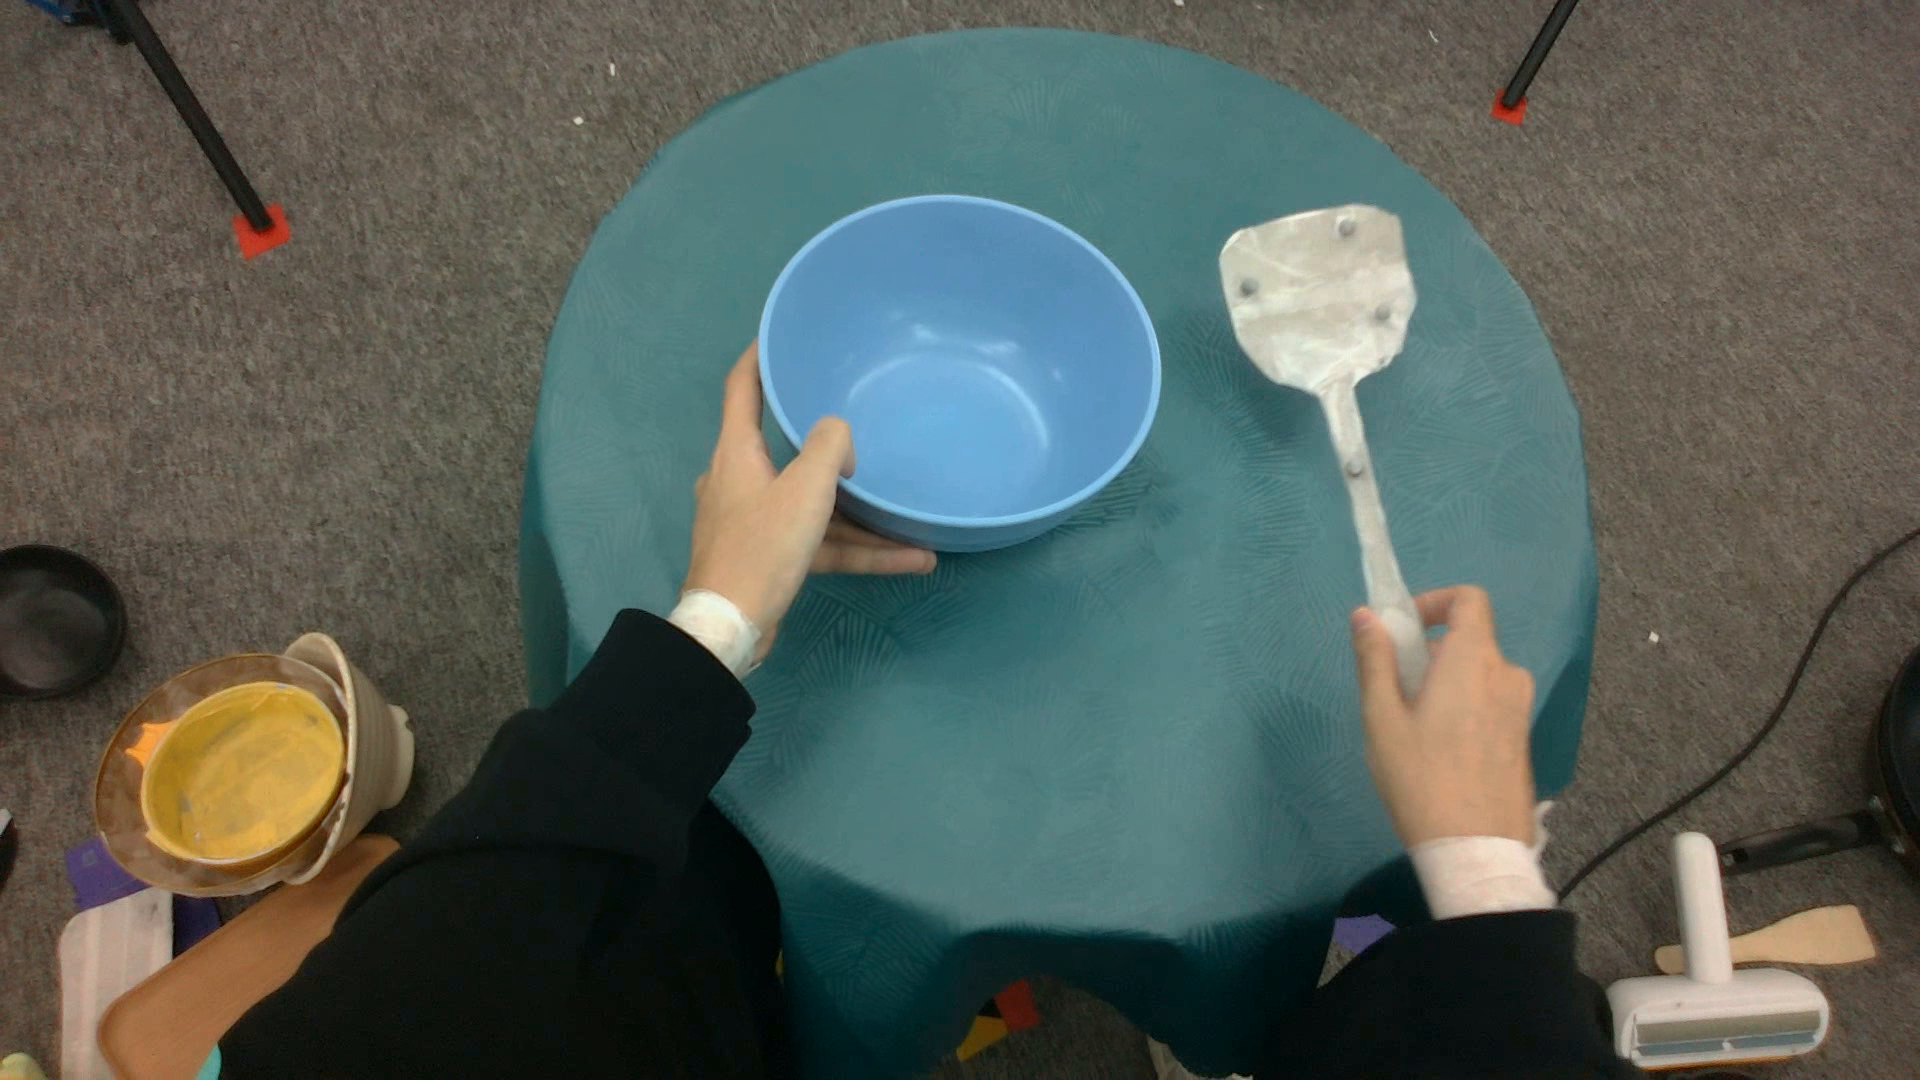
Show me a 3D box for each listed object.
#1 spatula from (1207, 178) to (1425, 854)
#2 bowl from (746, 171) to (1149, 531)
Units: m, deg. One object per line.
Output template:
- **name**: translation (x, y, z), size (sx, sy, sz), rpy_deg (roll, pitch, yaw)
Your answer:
- **spatula**: translation (0.191, -0.029, 0.685), size (0.098, 0.044, 0.366), rpy_deg (-7, 59, 8)
- **bowl**: translation (-0.010, -0.082, 0.703), size (0.196, 0.095, 0.197), rpy_deg (4, 62, -7)
